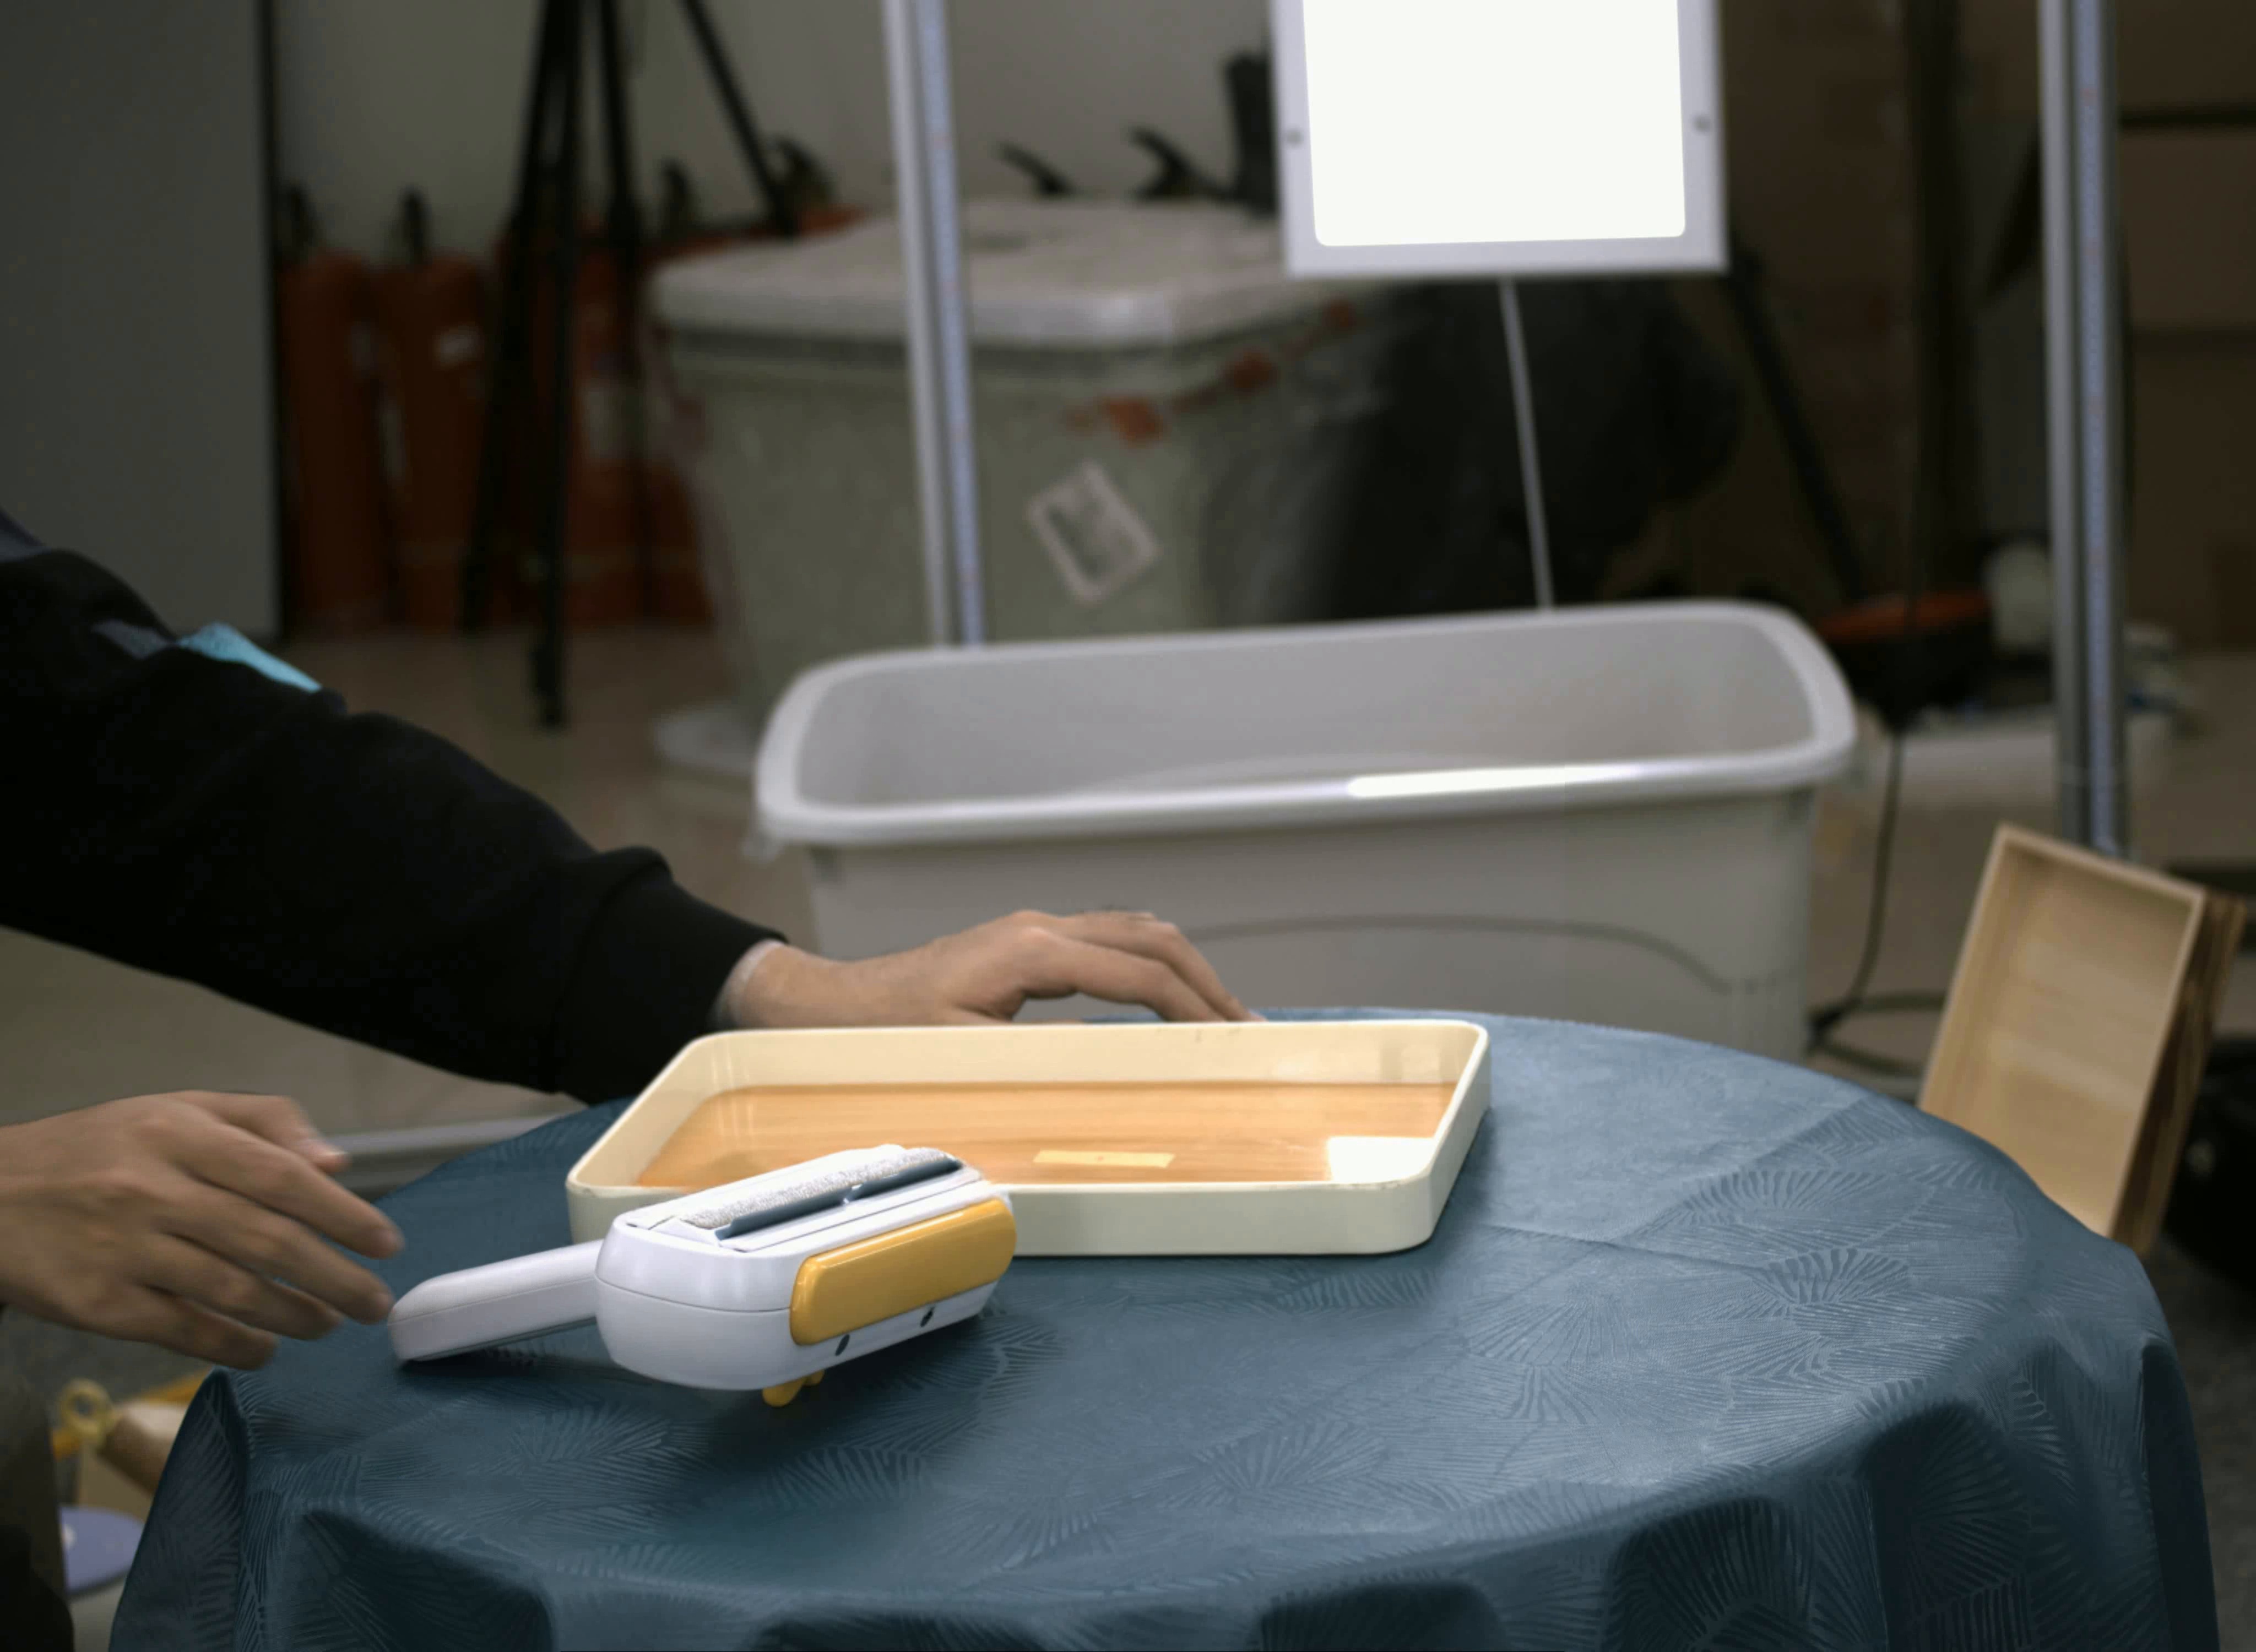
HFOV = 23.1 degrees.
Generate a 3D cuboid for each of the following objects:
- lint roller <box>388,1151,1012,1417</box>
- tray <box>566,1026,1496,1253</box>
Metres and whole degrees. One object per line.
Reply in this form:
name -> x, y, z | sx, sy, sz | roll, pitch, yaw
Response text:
lint roller -> -0.153, 0.143, 1.742 | 0.196, 0.074, 0.188 | 1, 10, 30
tray -> -0.030, 0.109, 1.921 | 0.303, 0.027, 0.189 | -2, 13, 14
